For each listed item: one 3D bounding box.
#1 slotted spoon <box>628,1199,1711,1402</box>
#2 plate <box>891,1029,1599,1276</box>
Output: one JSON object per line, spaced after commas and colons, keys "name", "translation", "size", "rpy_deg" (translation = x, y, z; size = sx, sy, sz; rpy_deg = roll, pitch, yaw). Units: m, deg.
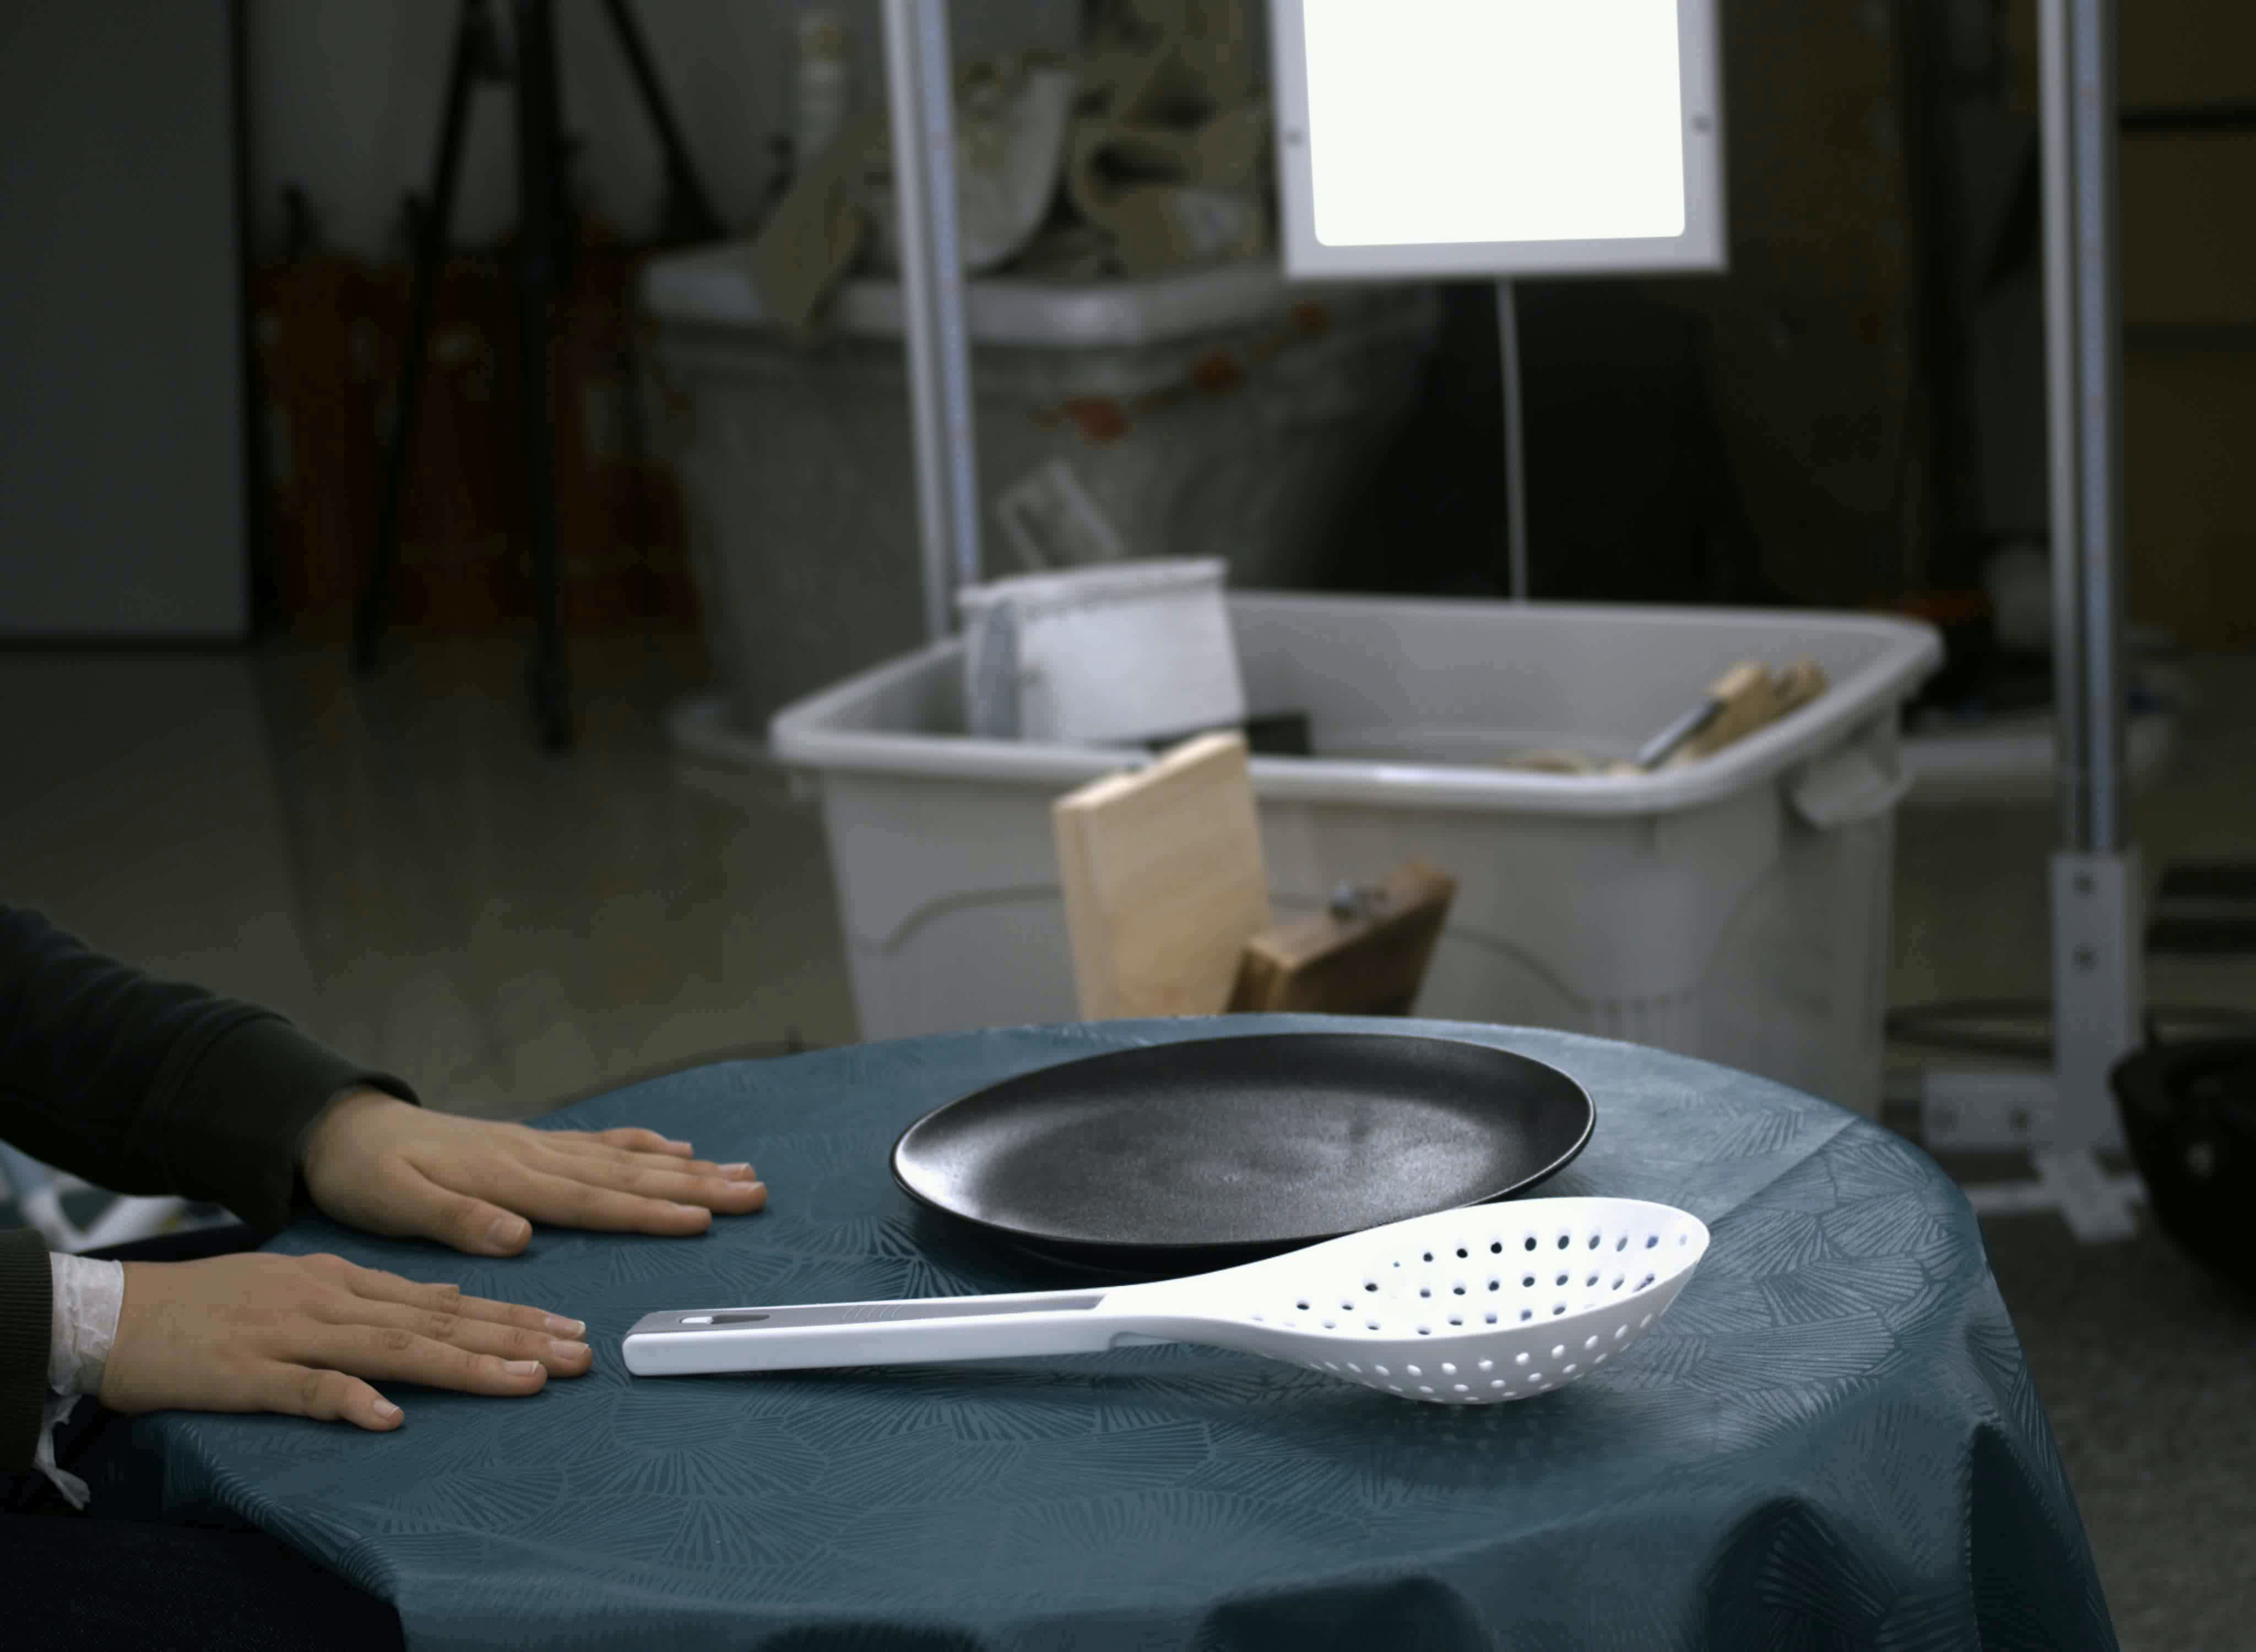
{"name": "slotted spoon", "translation": [0.009, 0.150, 1.702], "size": [0.354, 0.046, 0.134], "rpy_deg": [-1, 12, 19]}
{"name": "plate", "translation": [0.041, 0.114, 1.884], "size": [0.244, 0.023, 0.244], "rpy_deg": [-5, 14, 0]}
